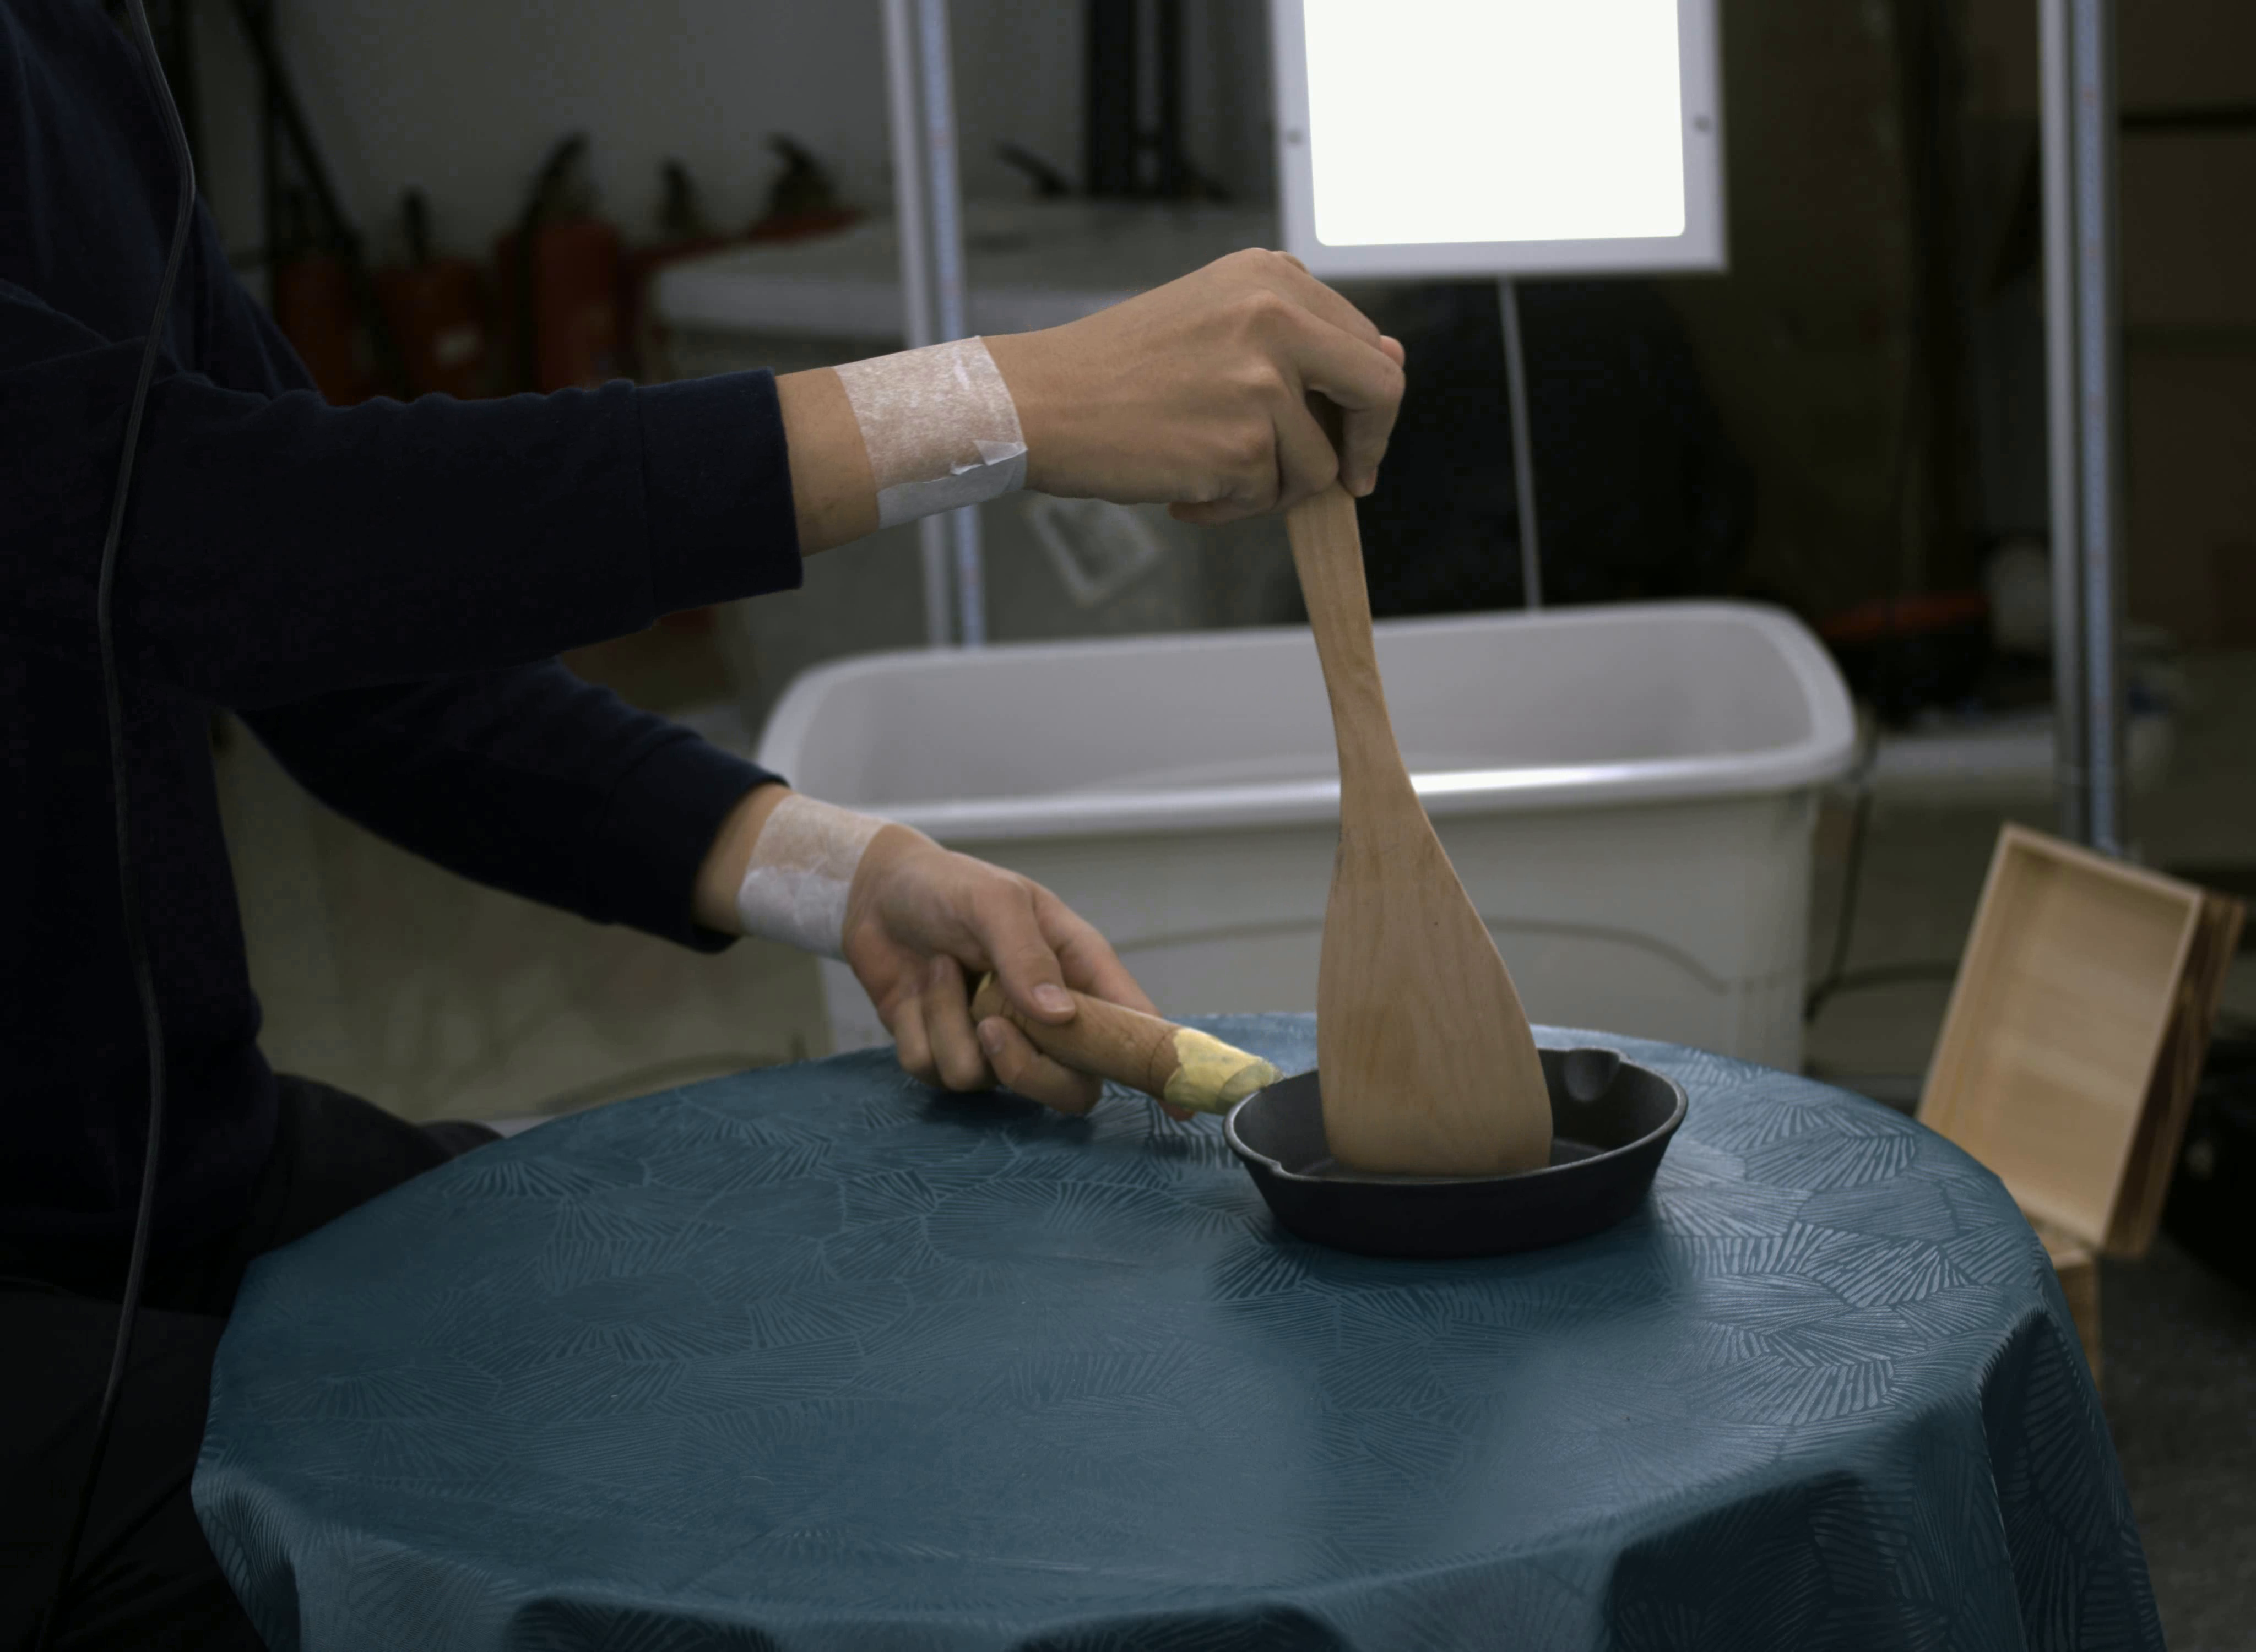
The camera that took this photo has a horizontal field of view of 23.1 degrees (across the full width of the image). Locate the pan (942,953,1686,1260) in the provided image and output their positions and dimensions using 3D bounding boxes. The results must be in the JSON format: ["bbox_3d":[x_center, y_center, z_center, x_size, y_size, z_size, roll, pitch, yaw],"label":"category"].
[{"bbox_3d":[0.052,0.092,1.911,0.164,0.050,0.331,-17,20,-40],"label":"pan"}]

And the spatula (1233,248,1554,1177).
[{"bbox_3d":[0.077,-0.032,1.836,0.080,0.328,0.016,-10,10,11],"label":"spatula"}]
